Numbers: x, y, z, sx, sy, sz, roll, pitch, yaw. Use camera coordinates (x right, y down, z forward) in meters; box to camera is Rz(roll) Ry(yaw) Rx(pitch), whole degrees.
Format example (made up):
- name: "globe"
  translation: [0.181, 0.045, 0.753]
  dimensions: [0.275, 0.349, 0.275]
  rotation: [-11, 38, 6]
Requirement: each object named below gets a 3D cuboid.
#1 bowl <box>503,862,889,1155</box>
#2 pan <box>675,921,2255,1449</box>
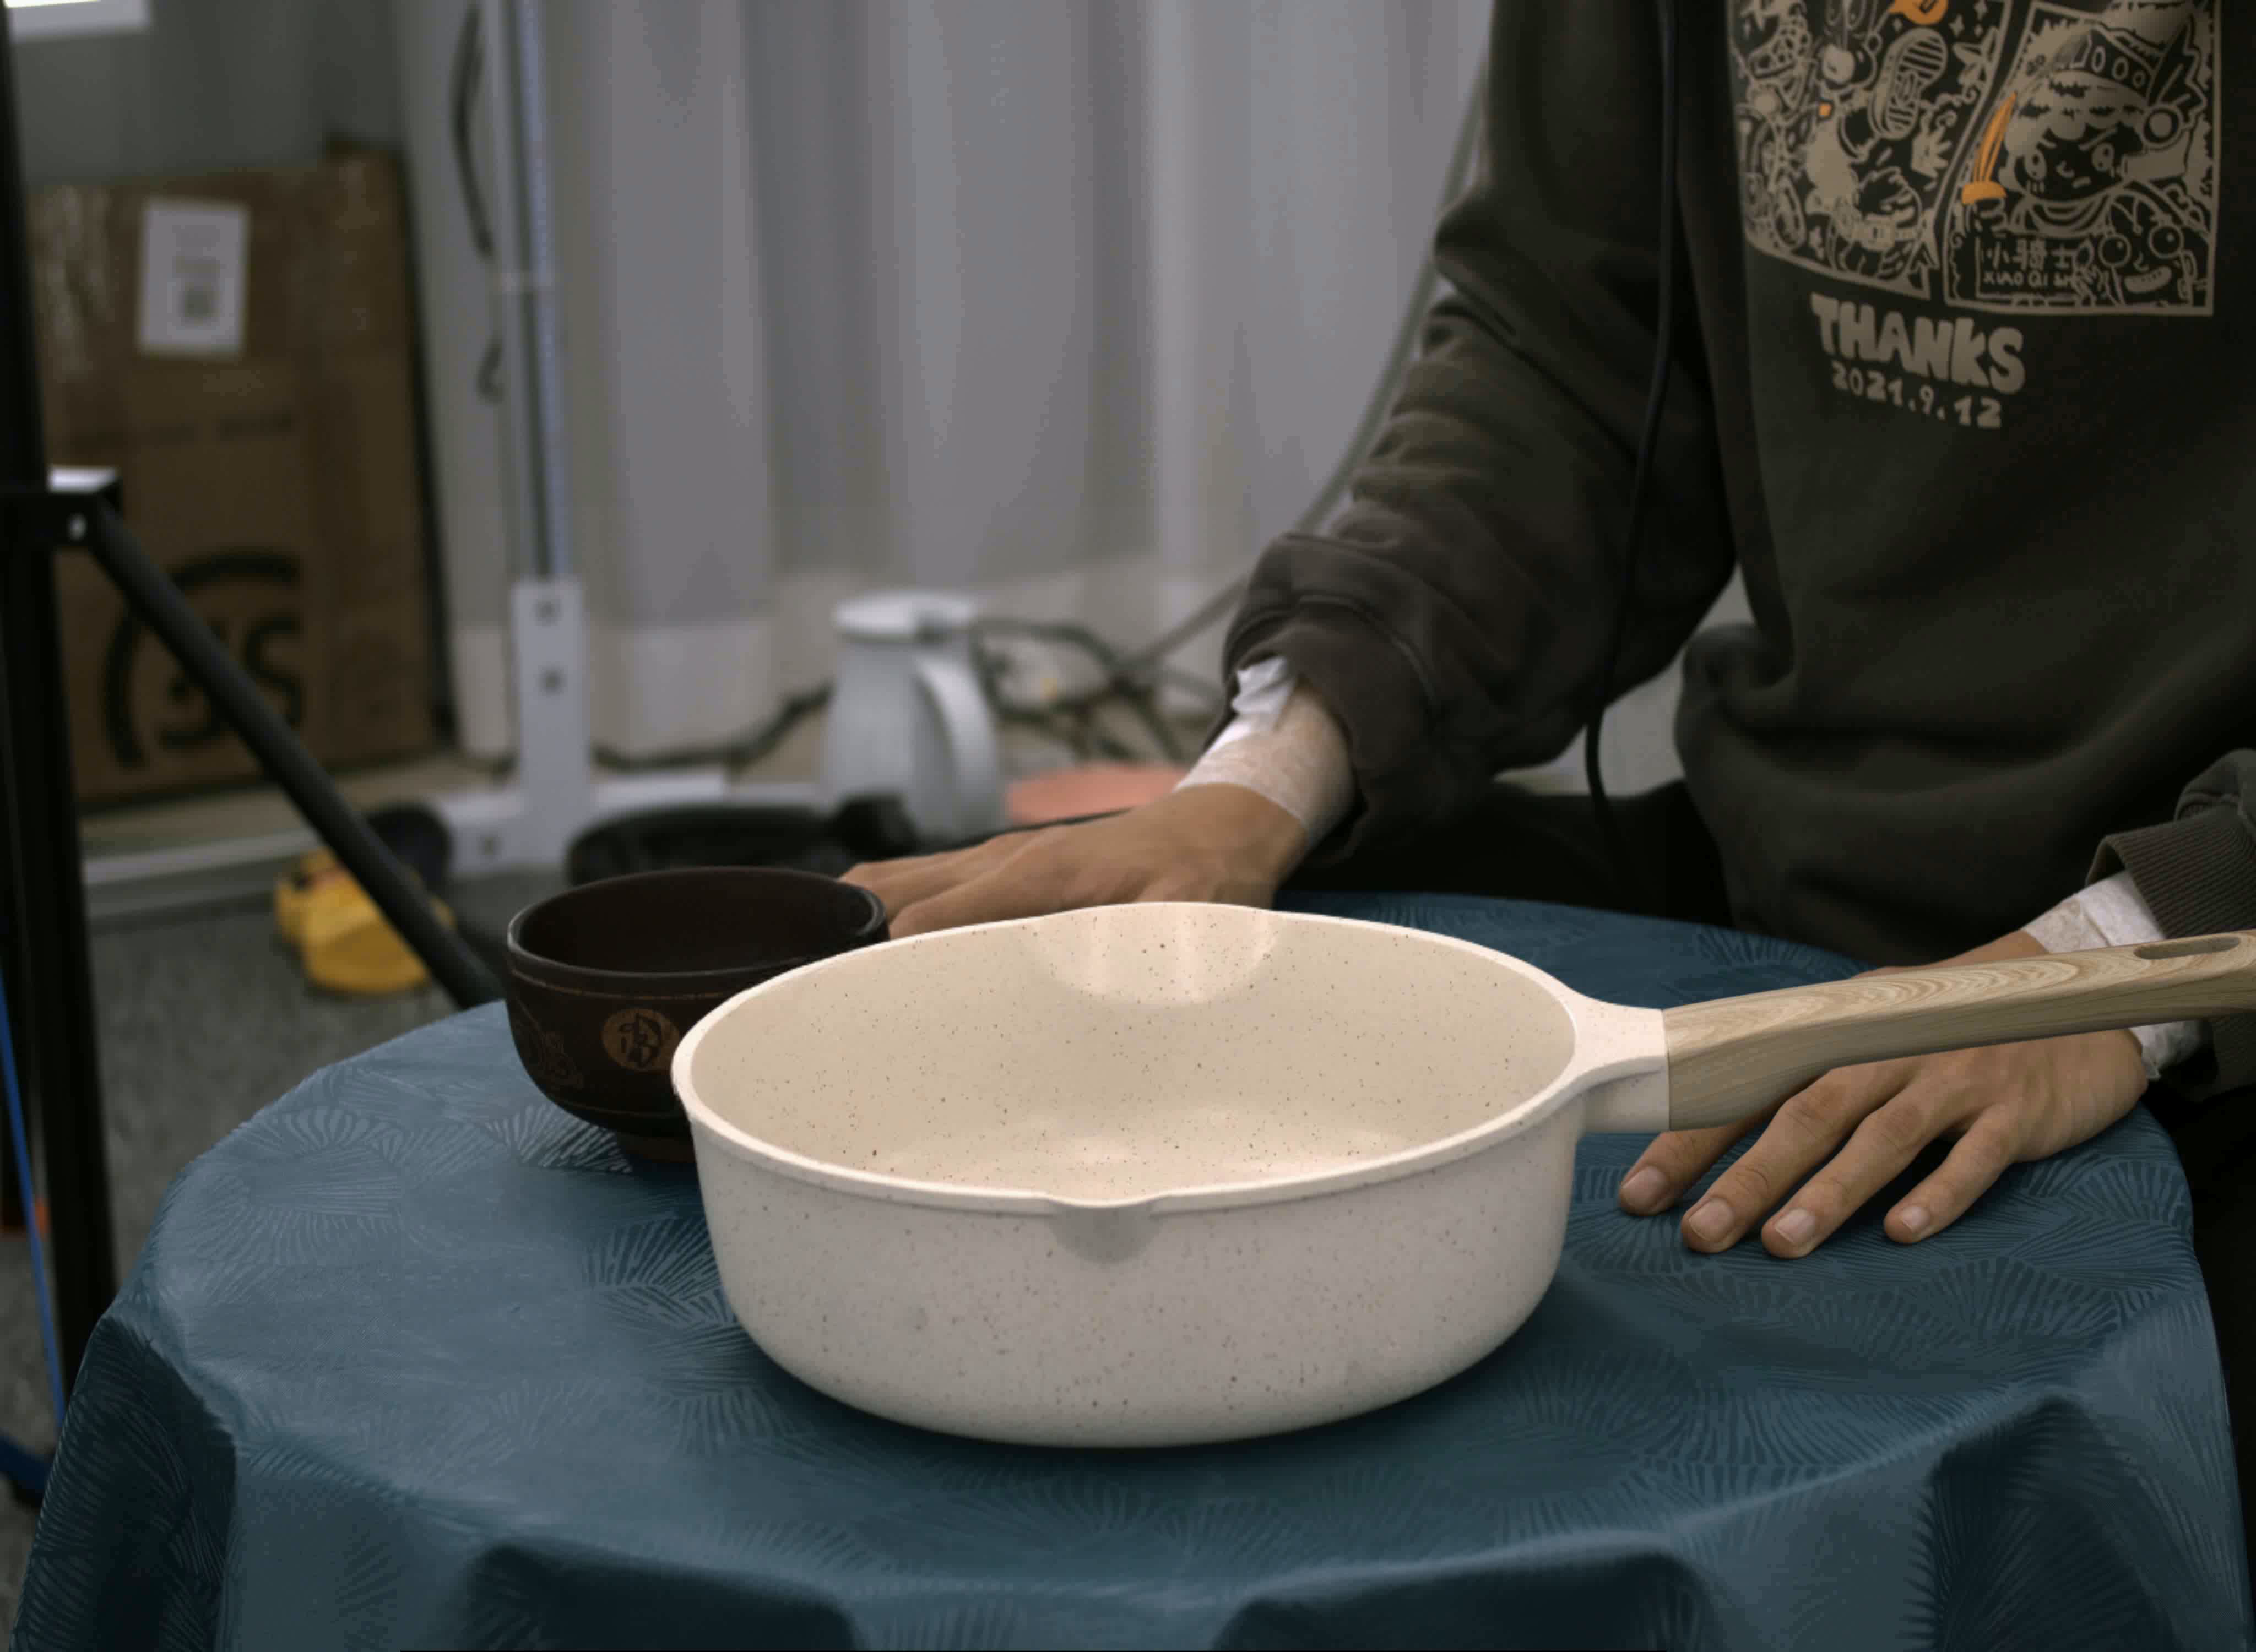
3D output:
- name: "bowl"
  translation: [-0.130, 0.059, 1.625]
  dimensions: [0.117, 0.070, 0.118]
  rotation: [-3, 14, -1]
- name: "pan"
  translation: [0.095, 0.090, 1.433]
  dimensions: [0.434, 0.102, 0.263]
  rotation: [-1, 14, 5]
